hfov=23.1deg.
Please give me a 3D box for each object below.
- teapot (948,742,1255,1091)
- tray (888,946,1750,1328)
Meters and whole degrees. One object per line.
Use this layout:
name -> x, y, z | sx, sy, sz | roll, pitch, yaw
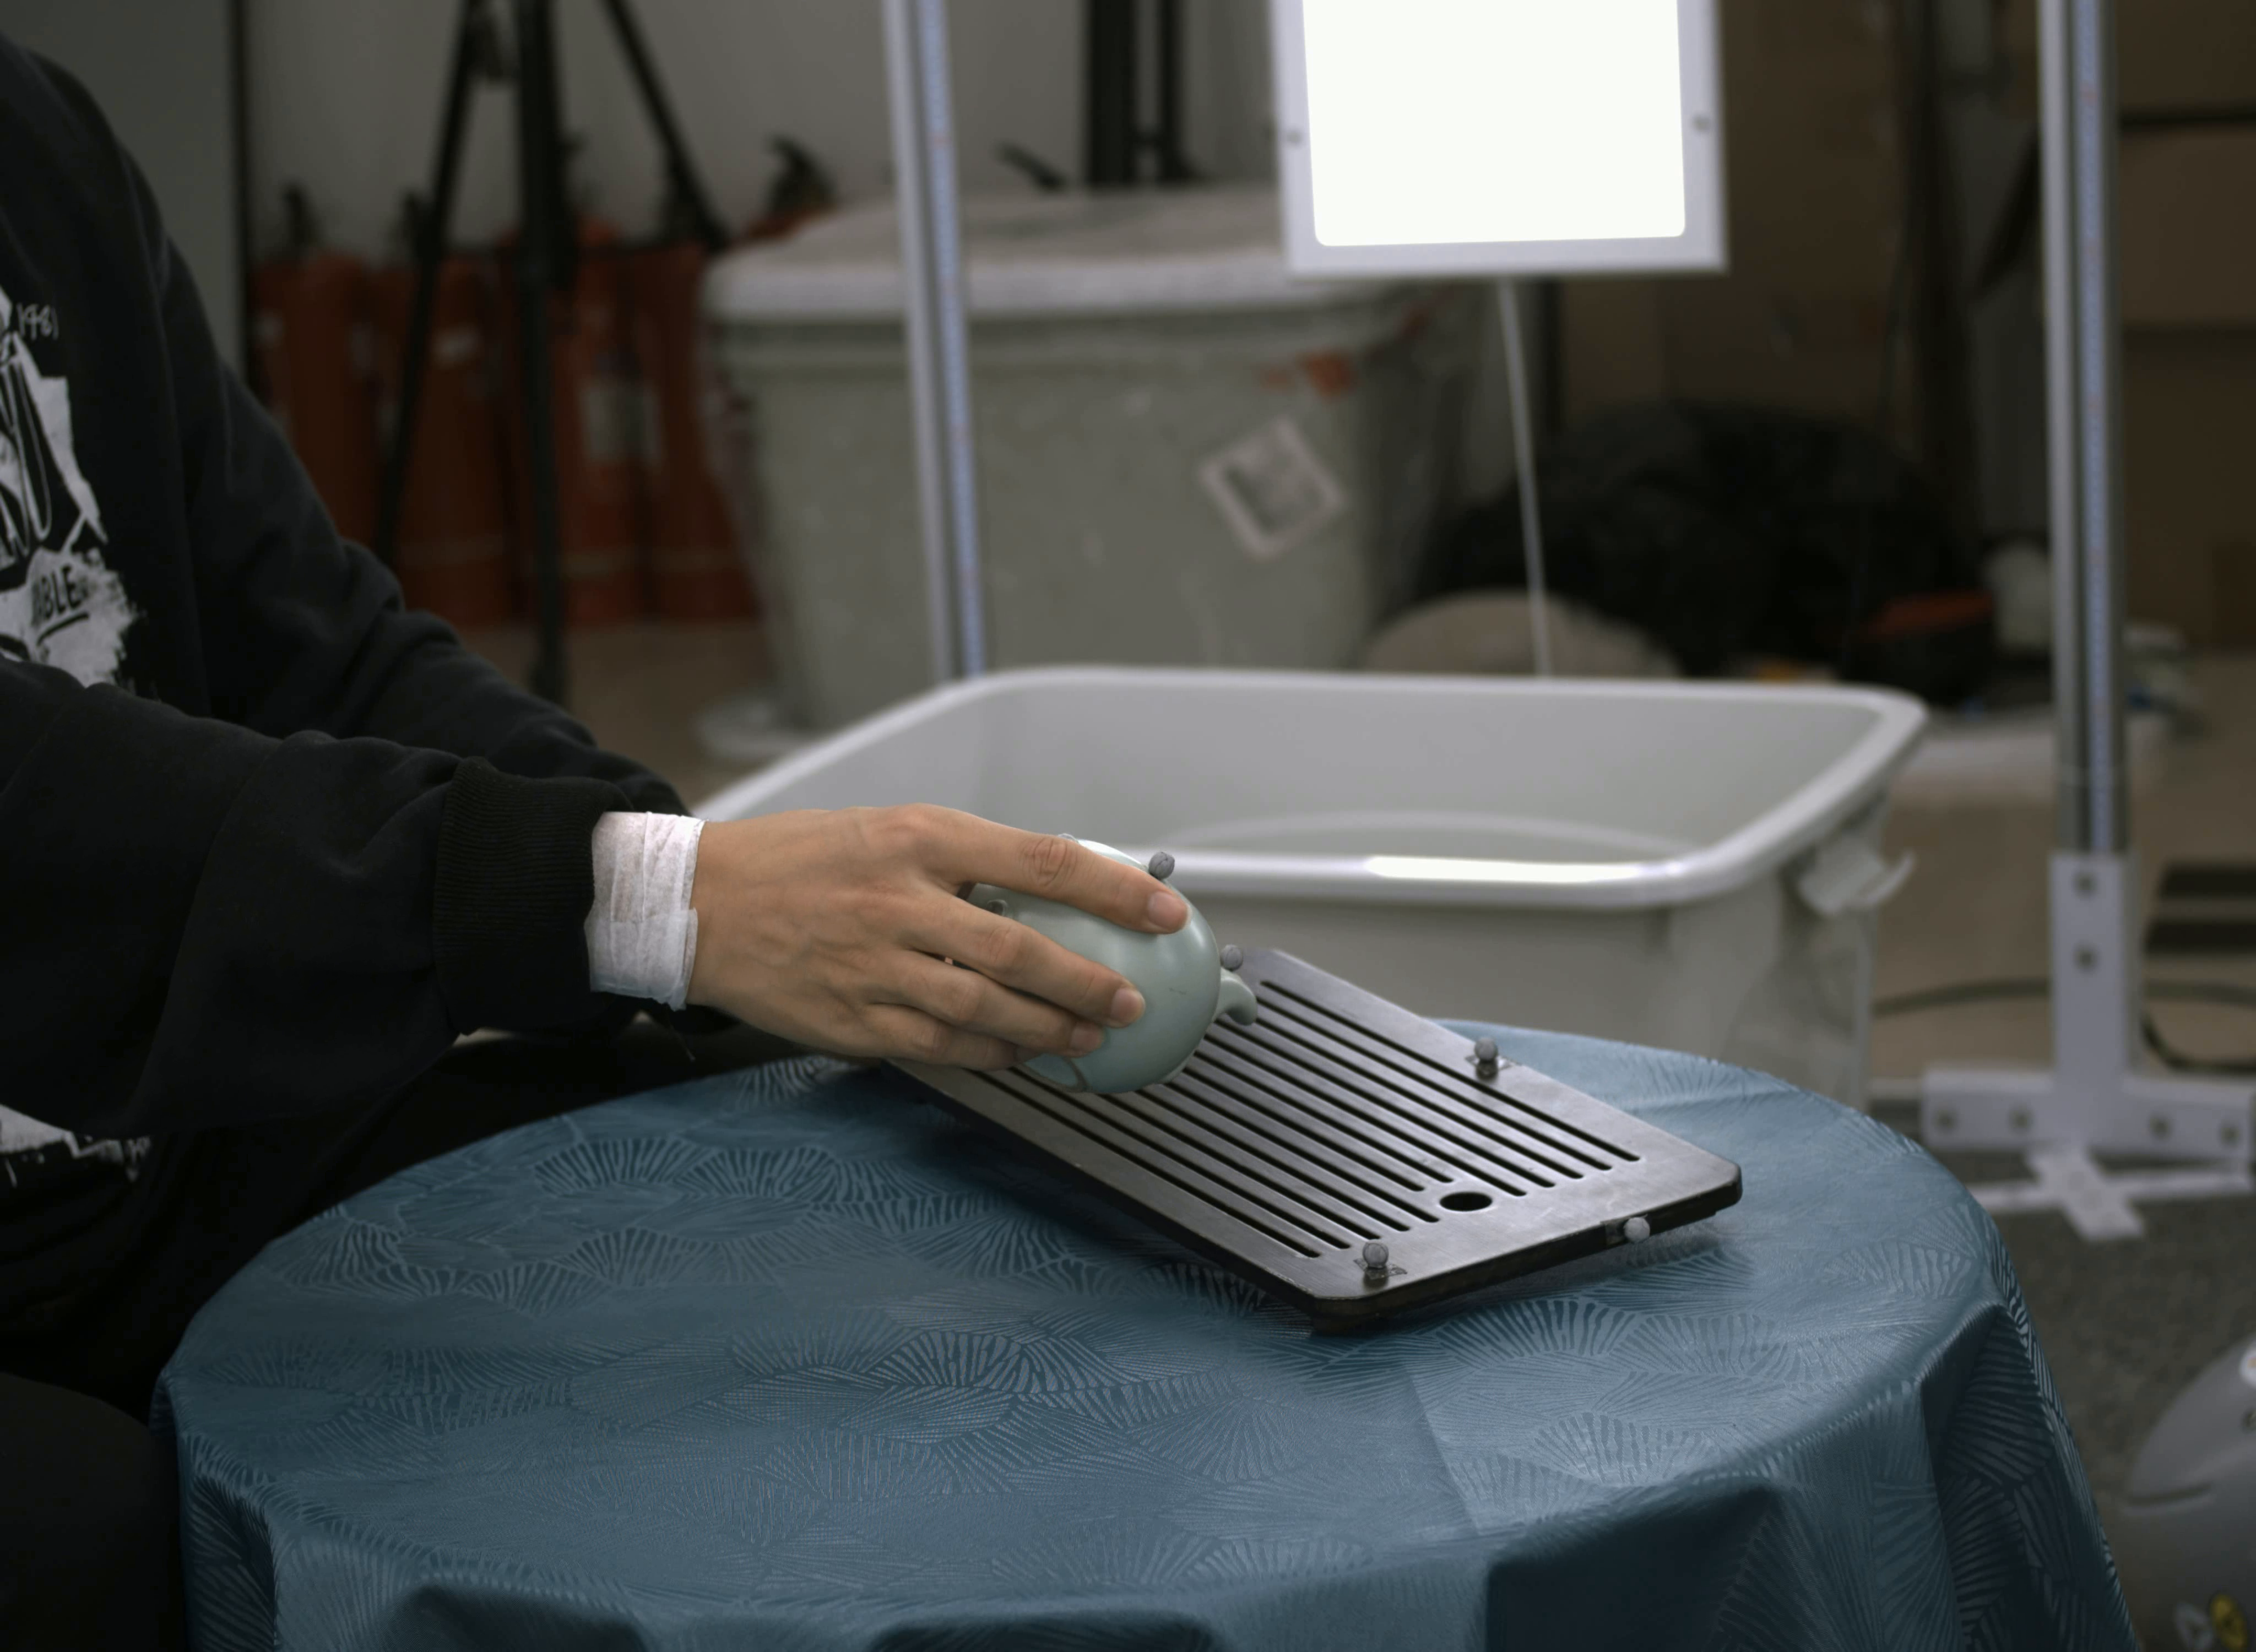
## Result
teapot -> -0.014, 0.043, 1.770 | 0.090, 0.142, 0.074 | 12, 59, 50
tray -> 0.060, 0.103, 1.887 | 0.166, 0.019, 0.311 | -15, 20, -27
